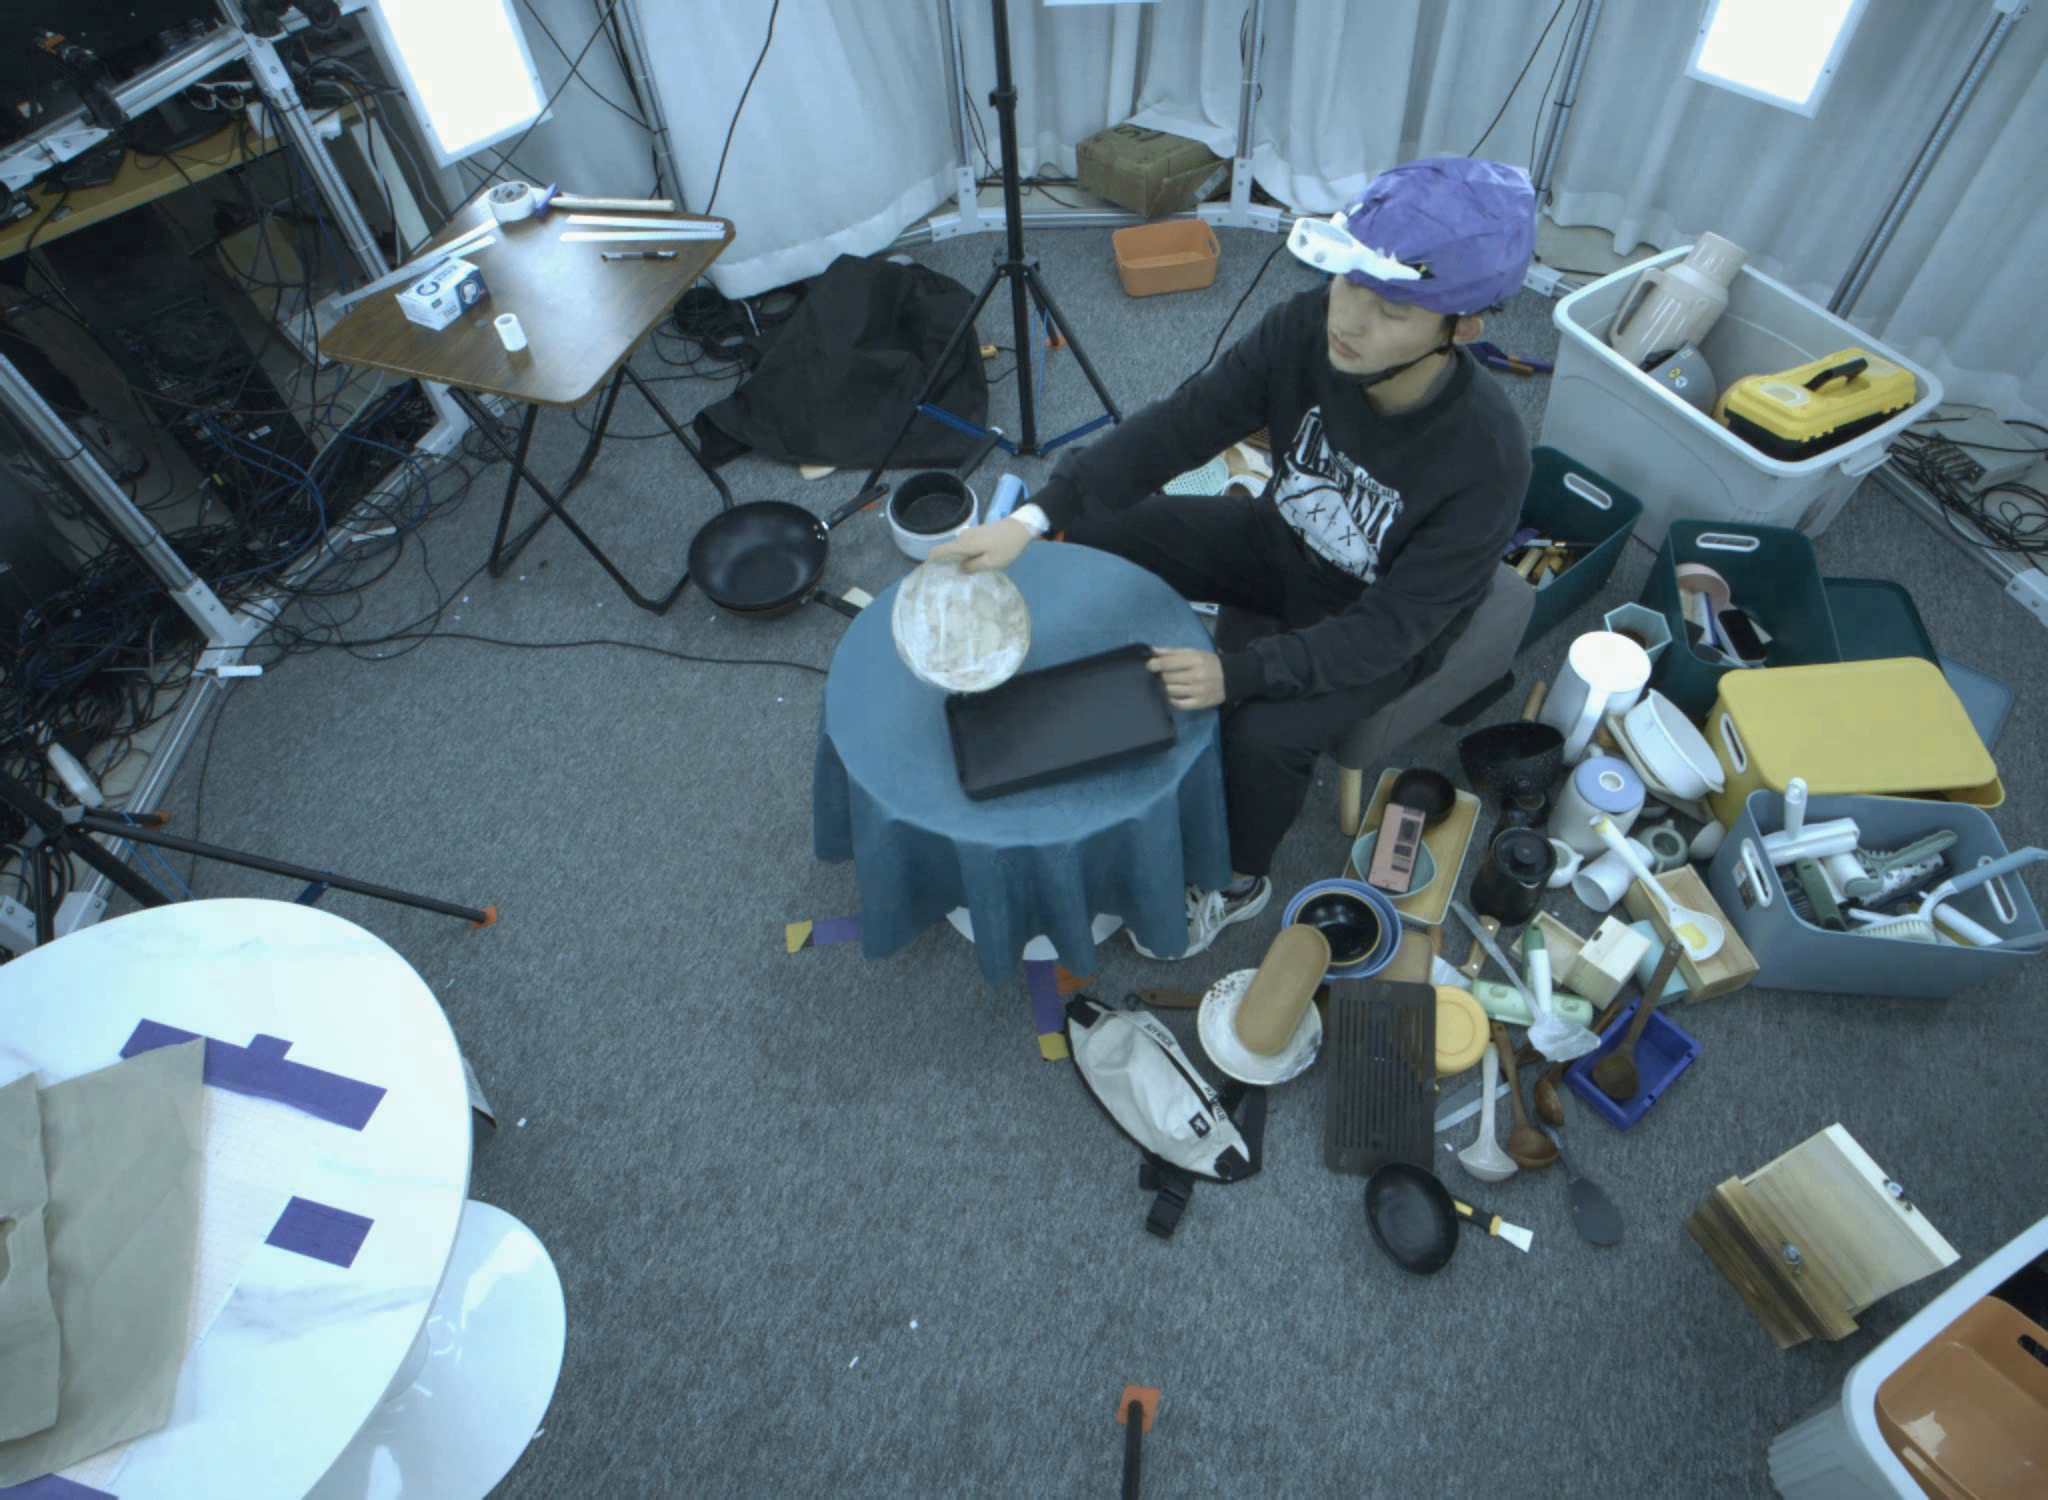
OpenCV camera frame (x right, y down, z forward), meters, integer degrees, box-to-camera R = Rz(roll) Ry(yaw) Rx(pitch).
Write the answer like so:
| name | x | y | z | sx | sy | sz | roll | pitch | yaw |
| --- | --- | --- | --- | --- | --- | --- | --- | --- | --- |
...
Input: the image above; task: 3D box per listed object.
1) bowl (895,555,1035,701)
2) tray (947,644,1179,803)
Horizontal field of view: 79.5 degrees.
| name | x | y | z | sx | sy | sz | roll | pitch | yaw |
| --- | --- | --- | --- | --- | --- | --- | --- | --- | --- |
| bowl | -0.094 | -0.164 | 1.740 | 0.219 | 0.093 | 0.214 | 6 | 78 | -28 |
| tray | 0.054 | -0.039 | 1.777 | 0.317 | 0.037 | 0.181 | -14 | 56 | 2 |
